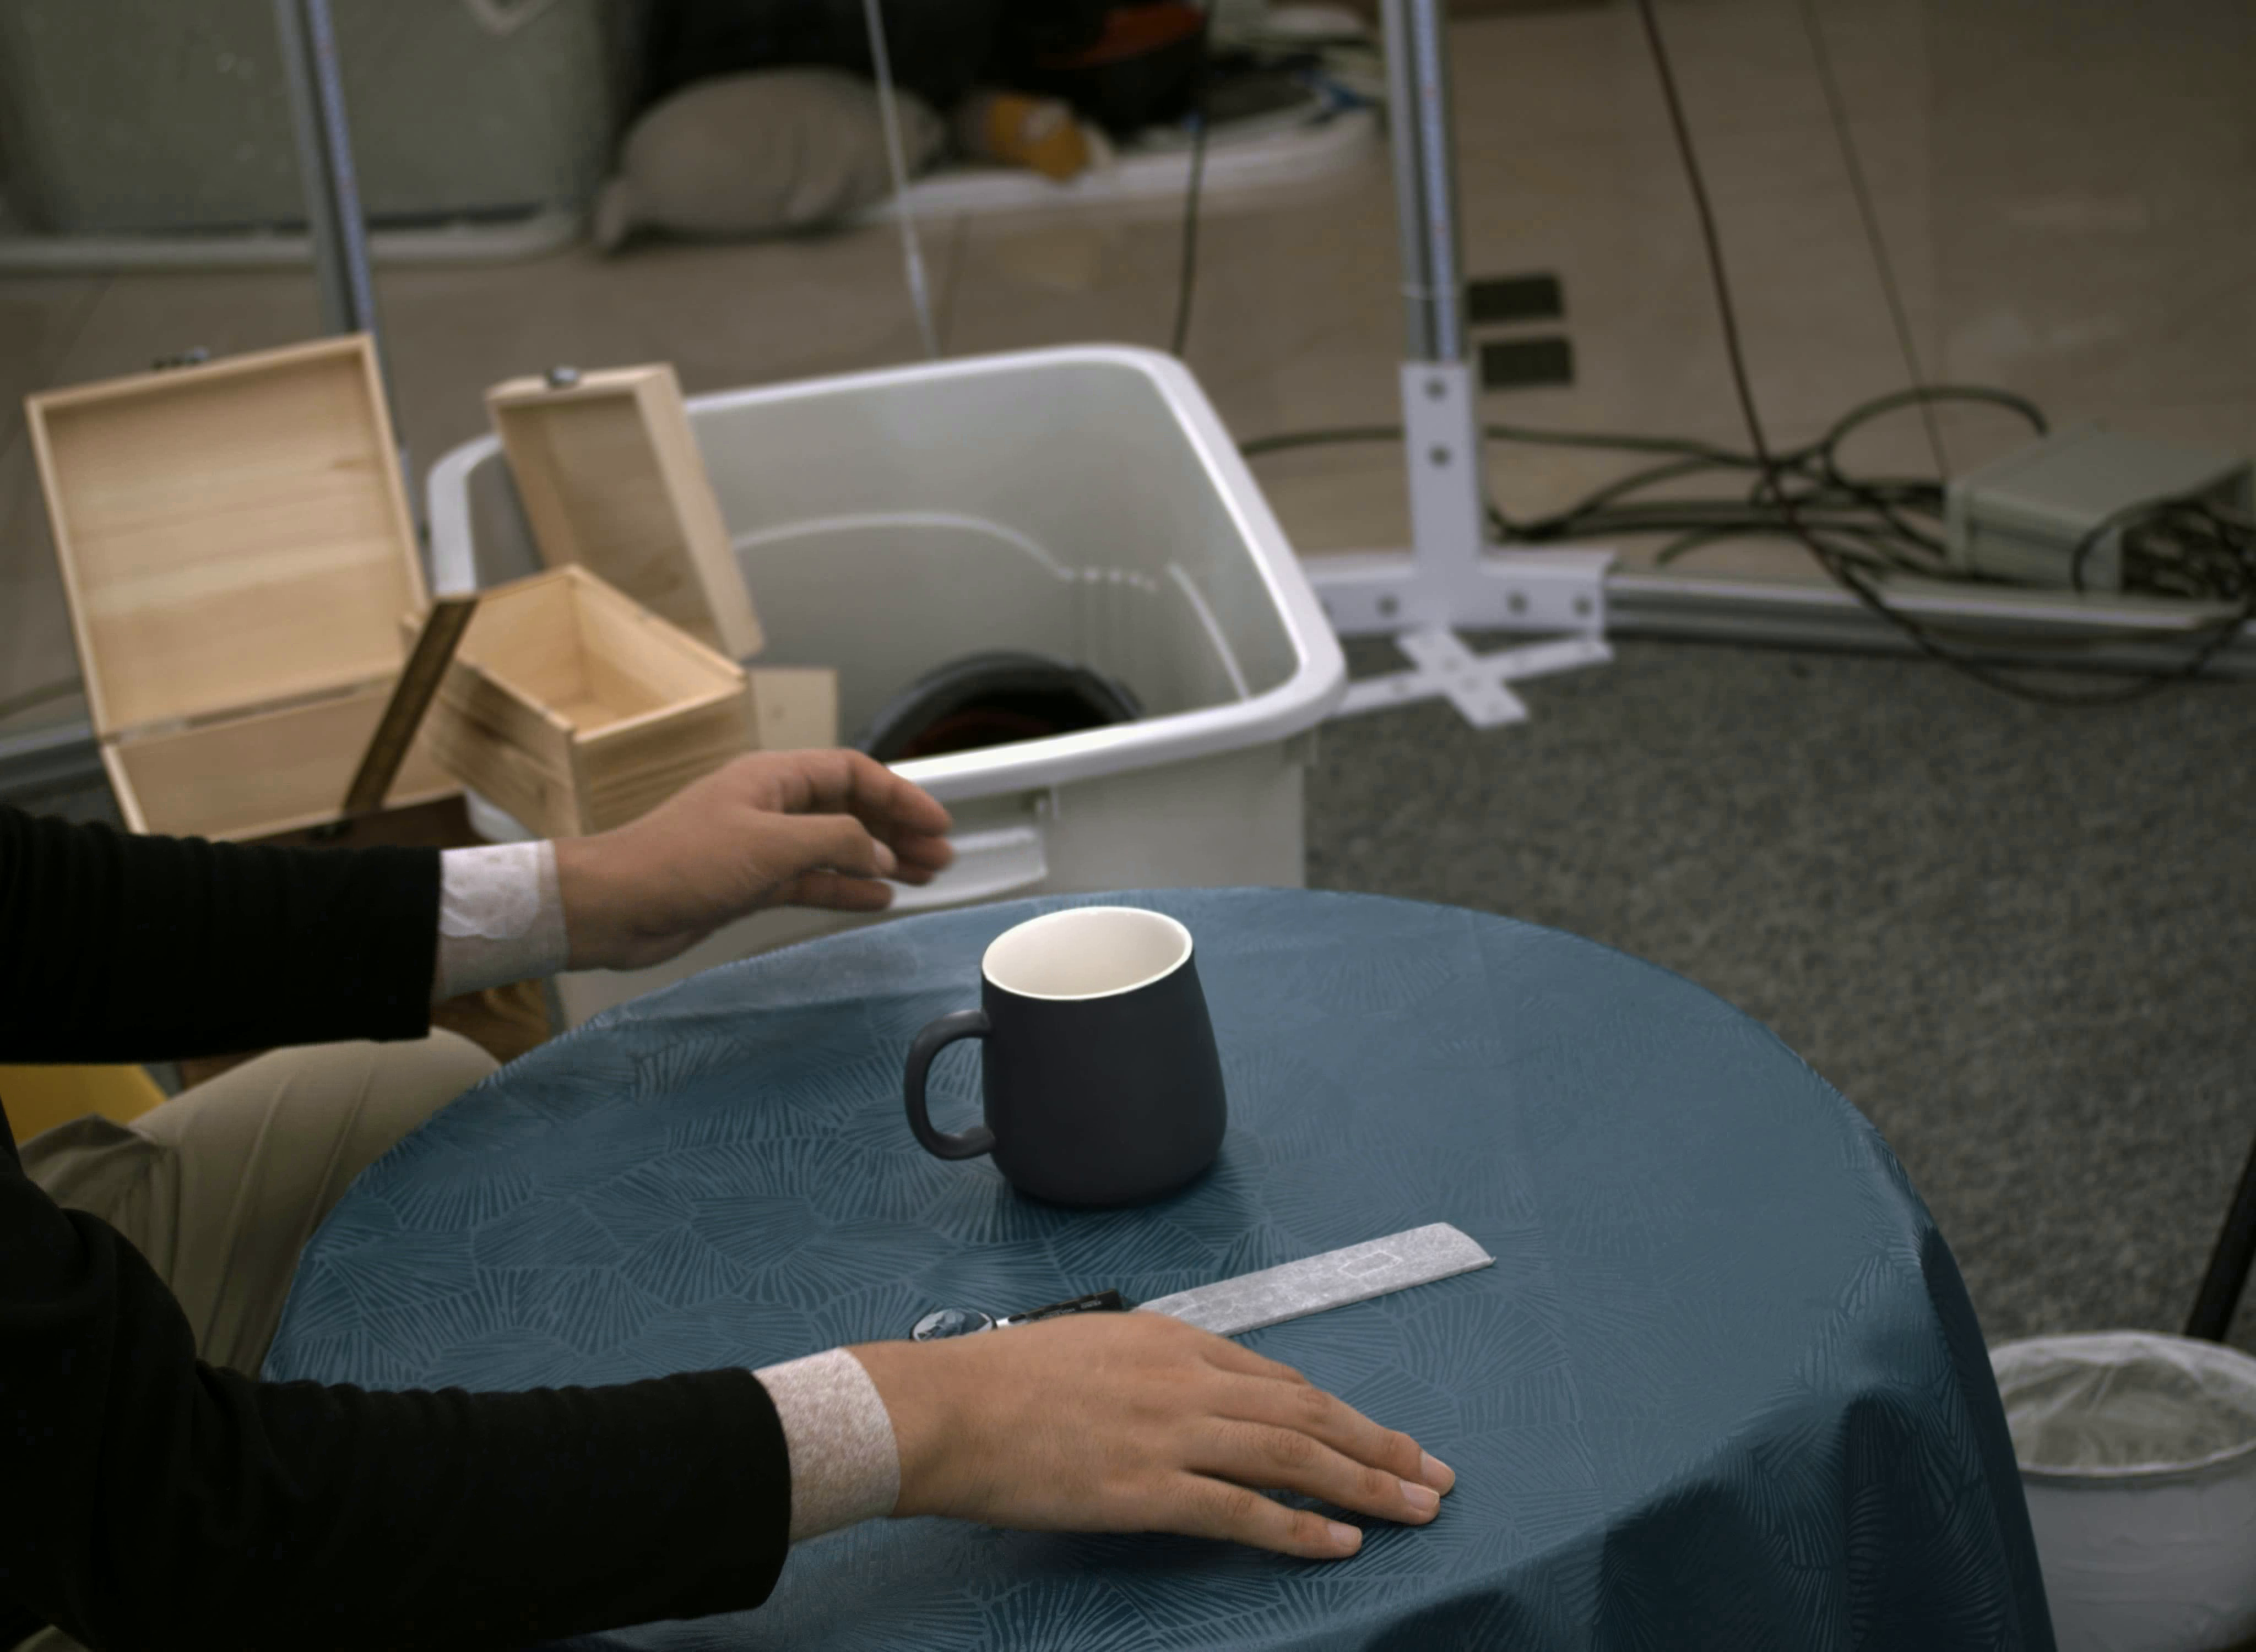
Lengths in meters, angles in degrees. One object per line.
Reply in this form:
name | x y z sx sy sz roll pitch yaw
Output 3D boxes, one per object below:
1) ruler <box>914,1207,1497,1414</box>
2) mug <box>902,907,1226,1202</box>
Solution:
ruler | 0.027 0.169 2.051 0.217 0.024 0.038 -15 33 -14
mug | -0.026 0.089 2.149 0.123 0.091 0.092 -11 25 -12
